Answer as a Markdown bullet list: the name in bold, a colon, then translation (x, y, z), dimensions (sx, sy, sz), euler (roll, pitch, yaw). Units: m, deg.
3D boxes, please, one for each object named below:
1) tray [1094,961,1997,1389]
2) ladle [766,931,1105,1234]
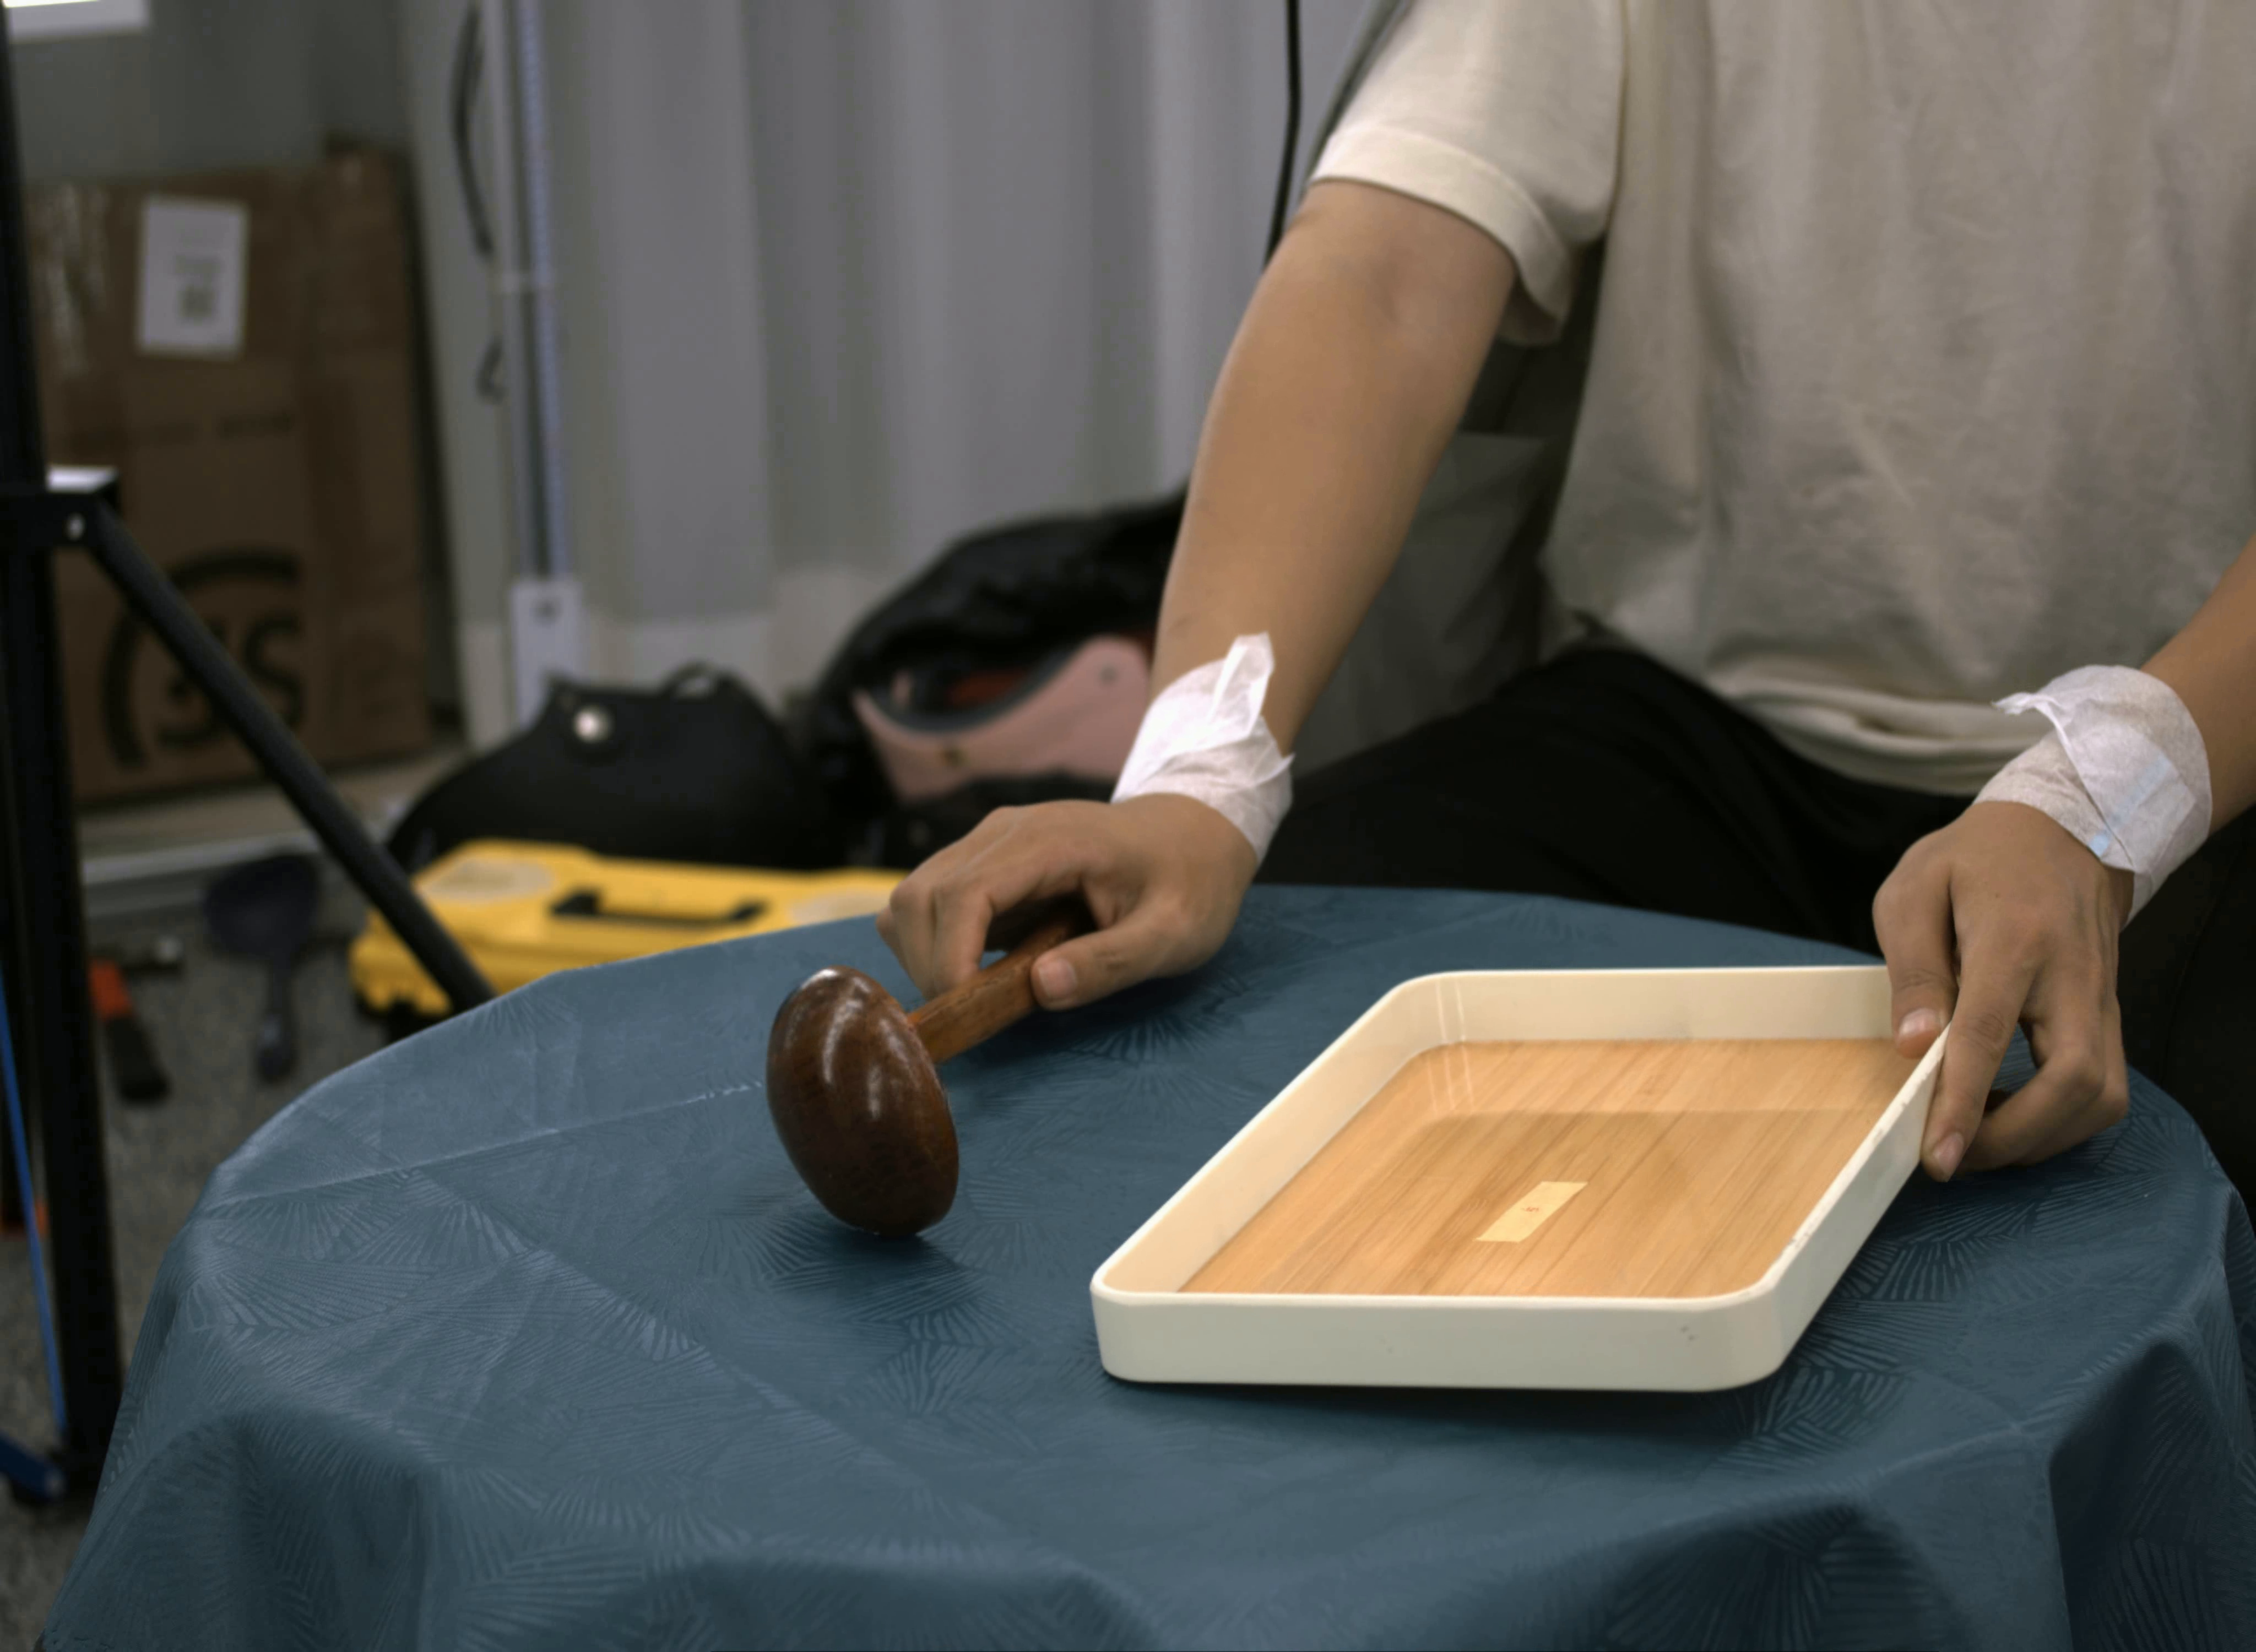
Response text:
- **tray**: translation (0.126, 0.095, 1.499), dimensions (0.194, 0.027, 0.296), euler (-2, 15, 23)
- **ladle**: translation (-0.037, 0.059, 1.617), dimensions (0.077, 0.082, 0.270), euler (-10, 6, 25)
